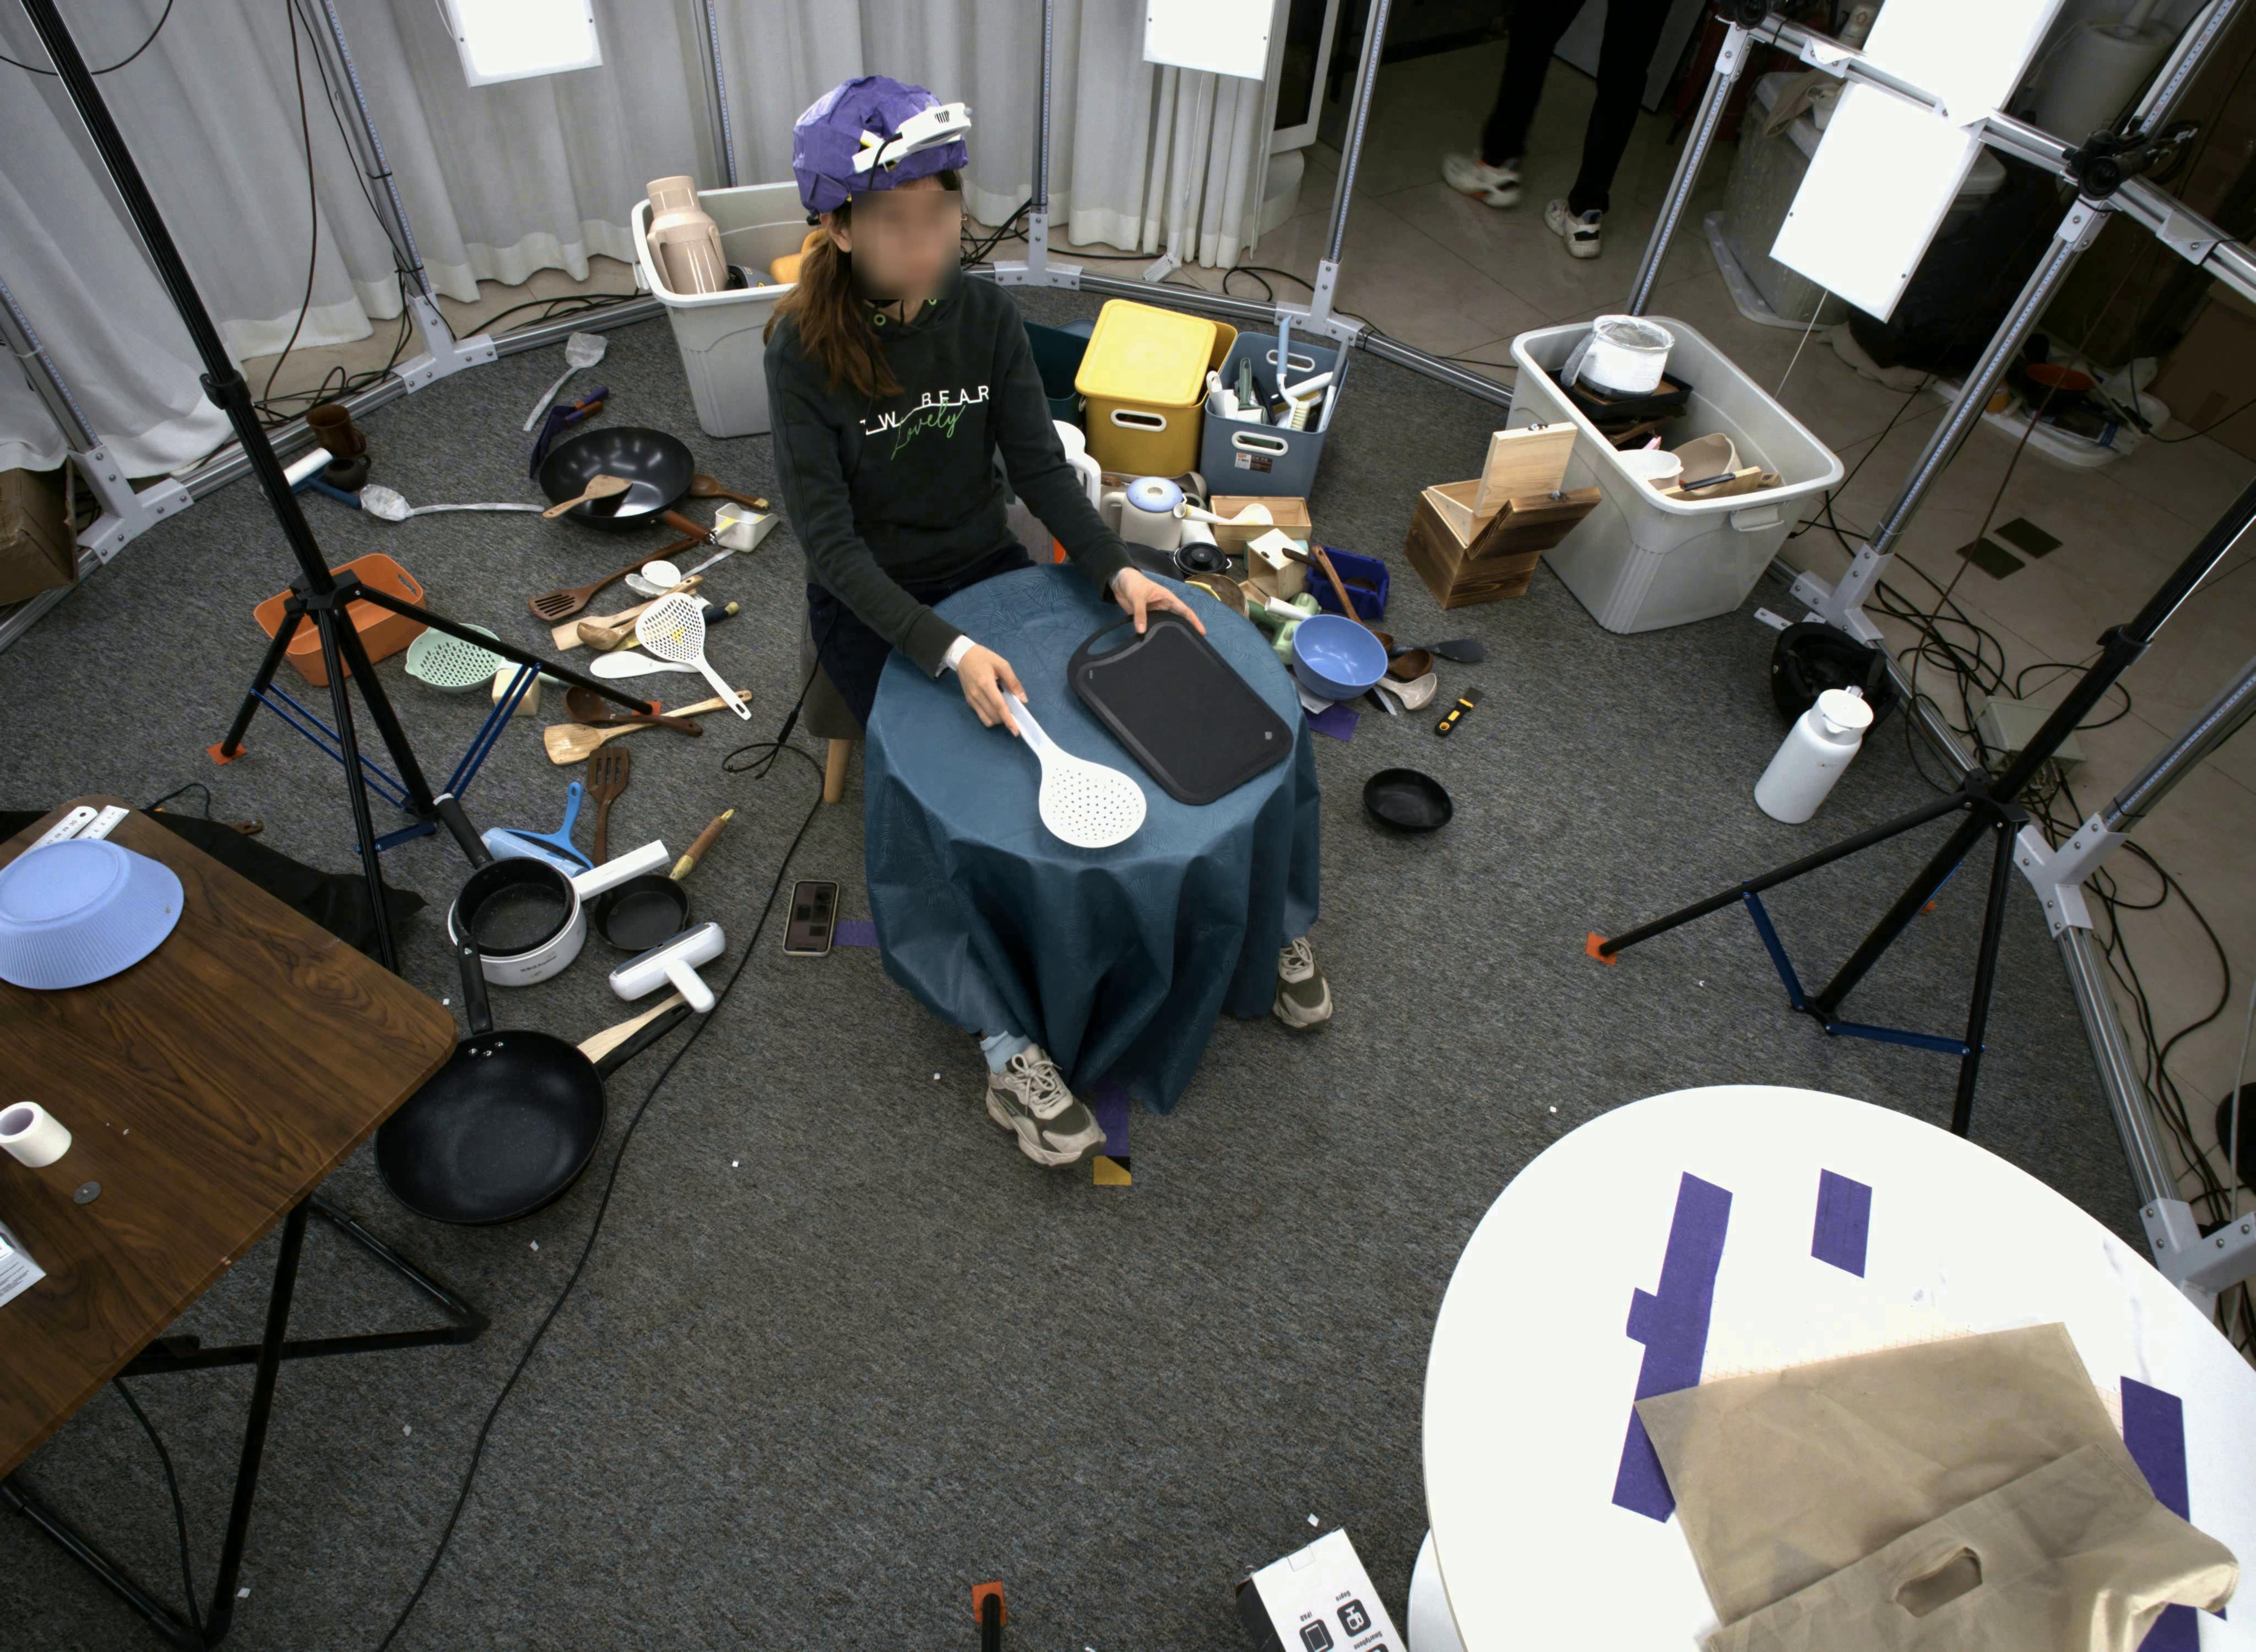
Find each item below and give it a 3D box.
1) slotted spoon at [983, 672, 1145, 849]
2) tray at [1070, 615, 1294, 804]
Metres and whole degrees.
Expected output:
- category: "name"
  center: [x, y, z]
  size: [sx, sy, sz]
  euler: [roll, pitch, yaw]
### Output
- category: "slotted spoon"
  center: [-0.103, -0.093, 1.716]
  size: [0.136, 0.044, 0.356]
  euler: [-23, 59, -22]
- category: "tray"
  center: [0.068, -0.176, 1.811]
  size: [0.212, 0.009, 0.331]
  euler: [-30, 63, -22]
